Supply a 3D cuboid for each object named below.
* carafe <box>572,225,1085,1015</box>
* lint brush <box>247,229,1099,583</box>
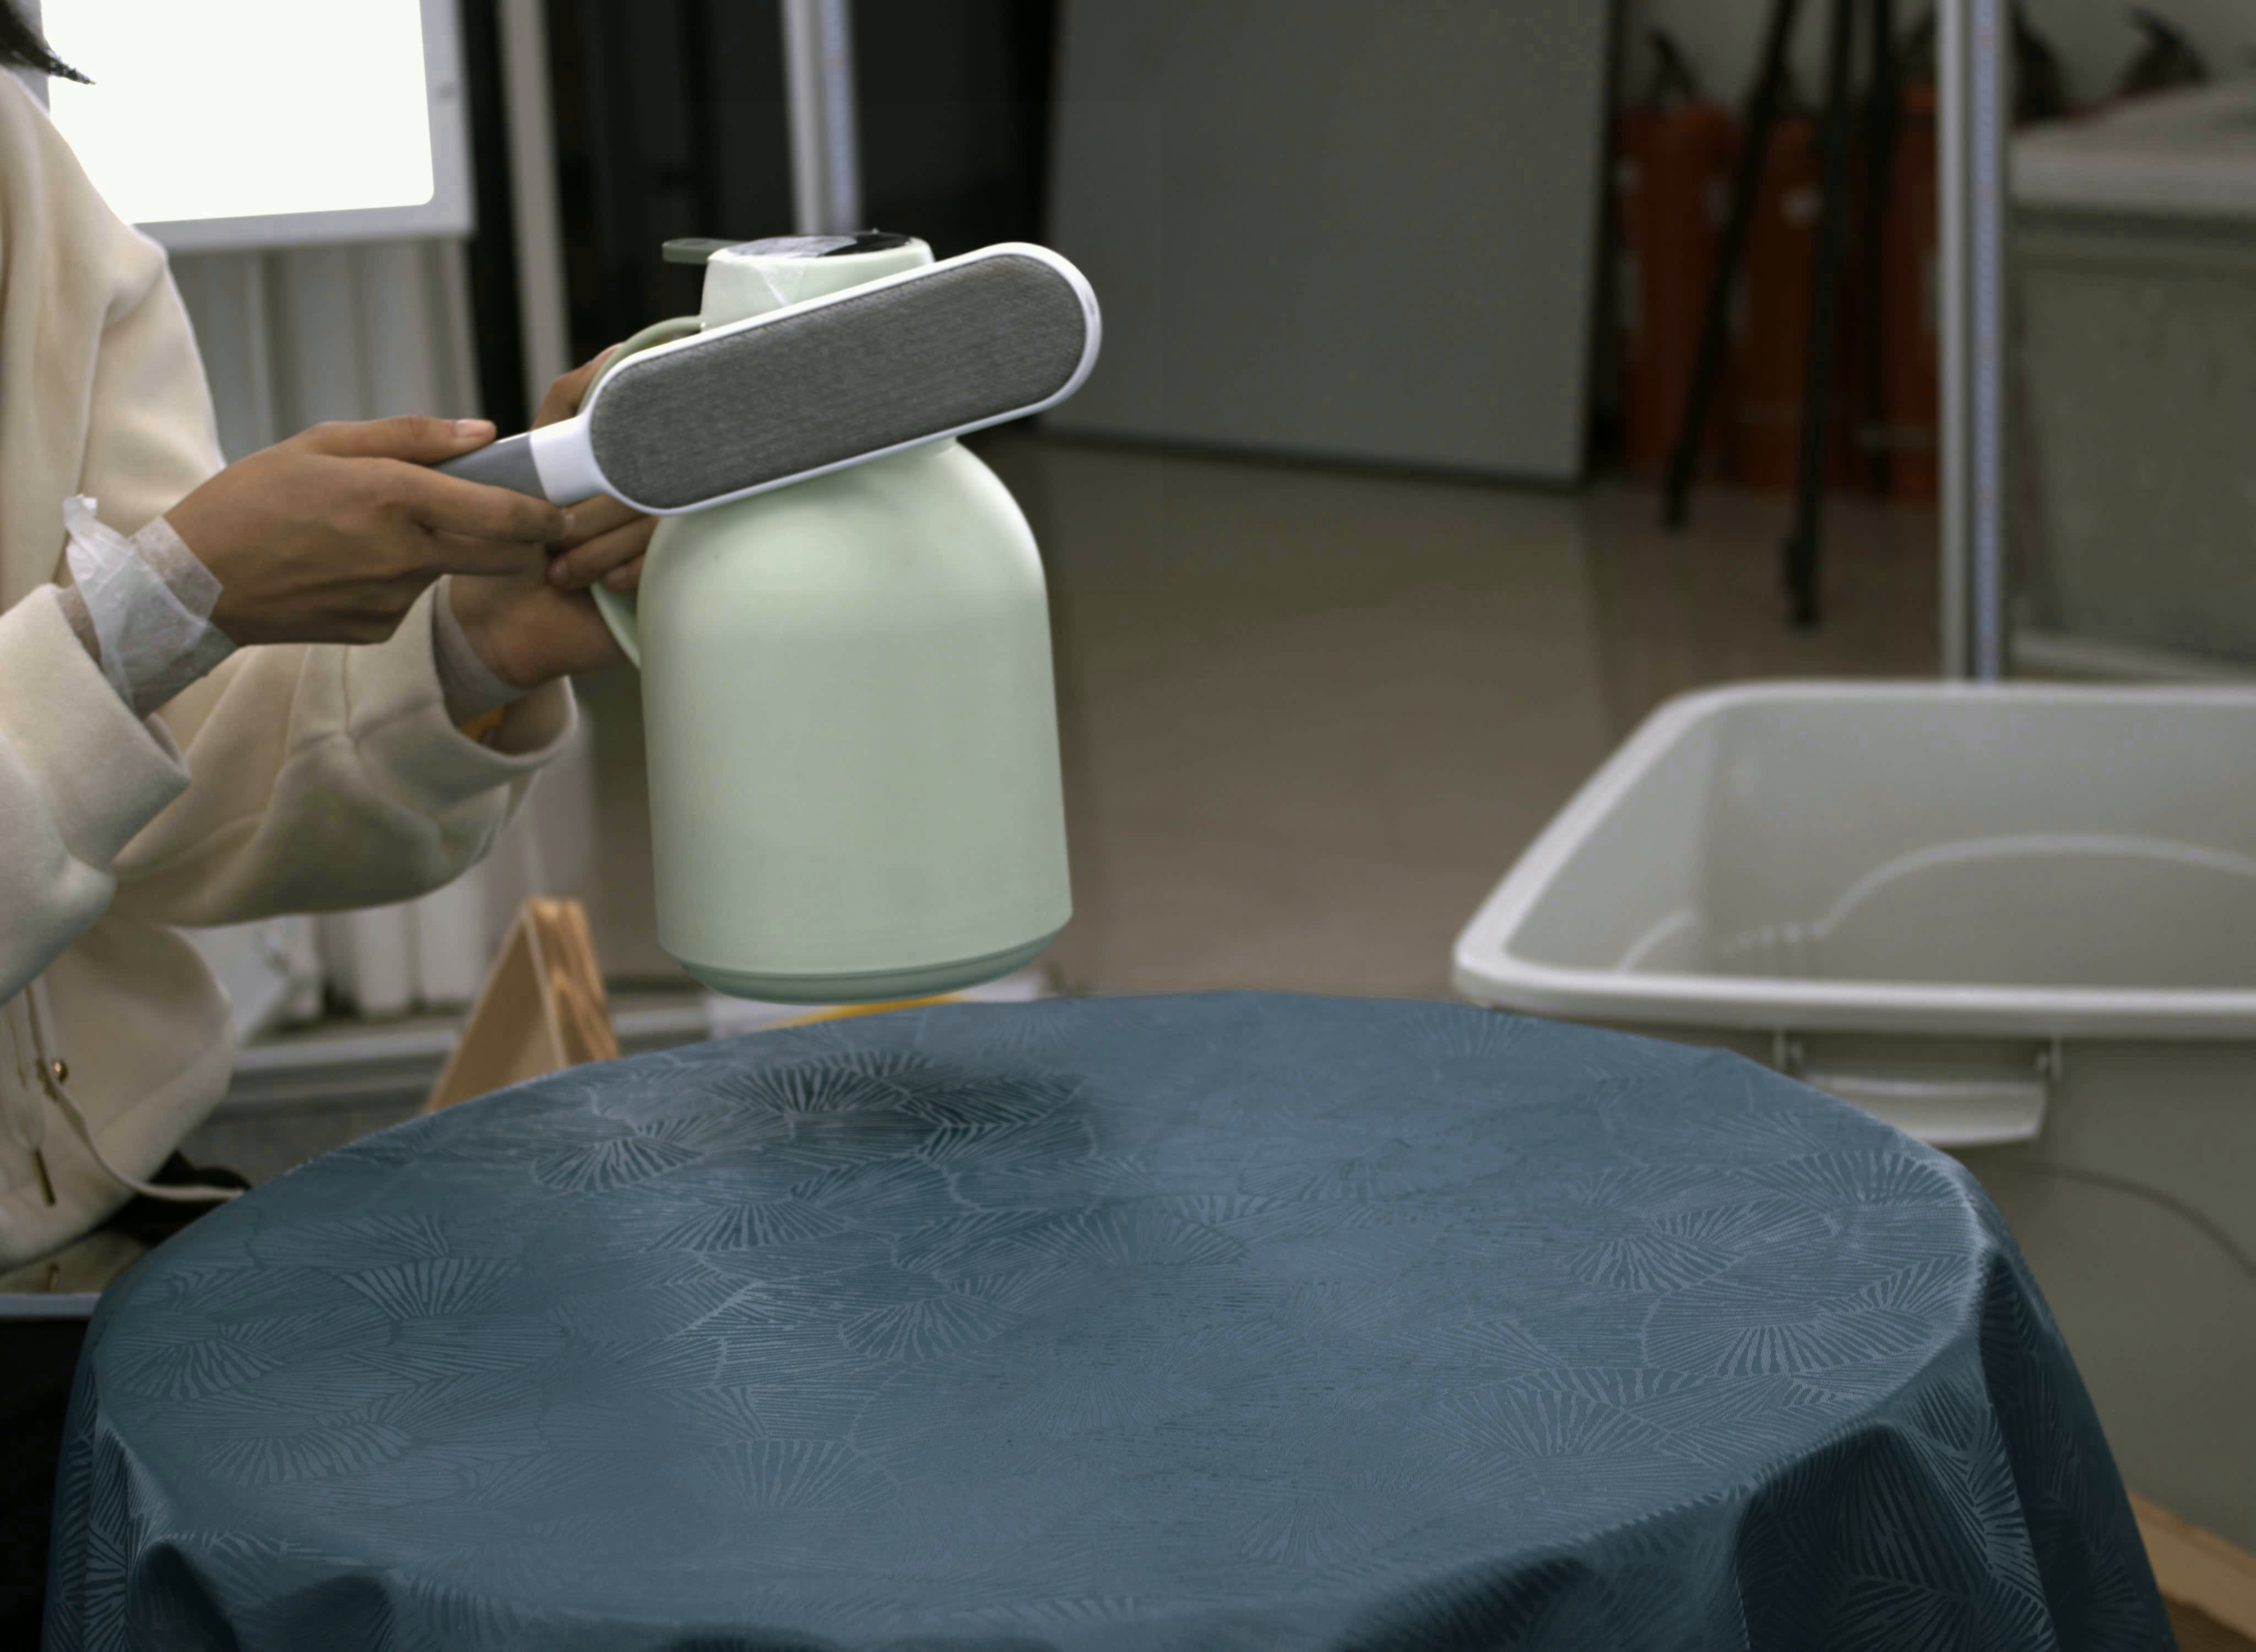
[{"bbox_3d":[-0.108,-0.074,1.860,0.188,0.259,0.141,0,13,38],"label":"carafe"},{"bbox_3d":[-0.153,-0.134,1.793,0.308,0.060,0.021,-16,6,15],"label":"lint brush"}]
